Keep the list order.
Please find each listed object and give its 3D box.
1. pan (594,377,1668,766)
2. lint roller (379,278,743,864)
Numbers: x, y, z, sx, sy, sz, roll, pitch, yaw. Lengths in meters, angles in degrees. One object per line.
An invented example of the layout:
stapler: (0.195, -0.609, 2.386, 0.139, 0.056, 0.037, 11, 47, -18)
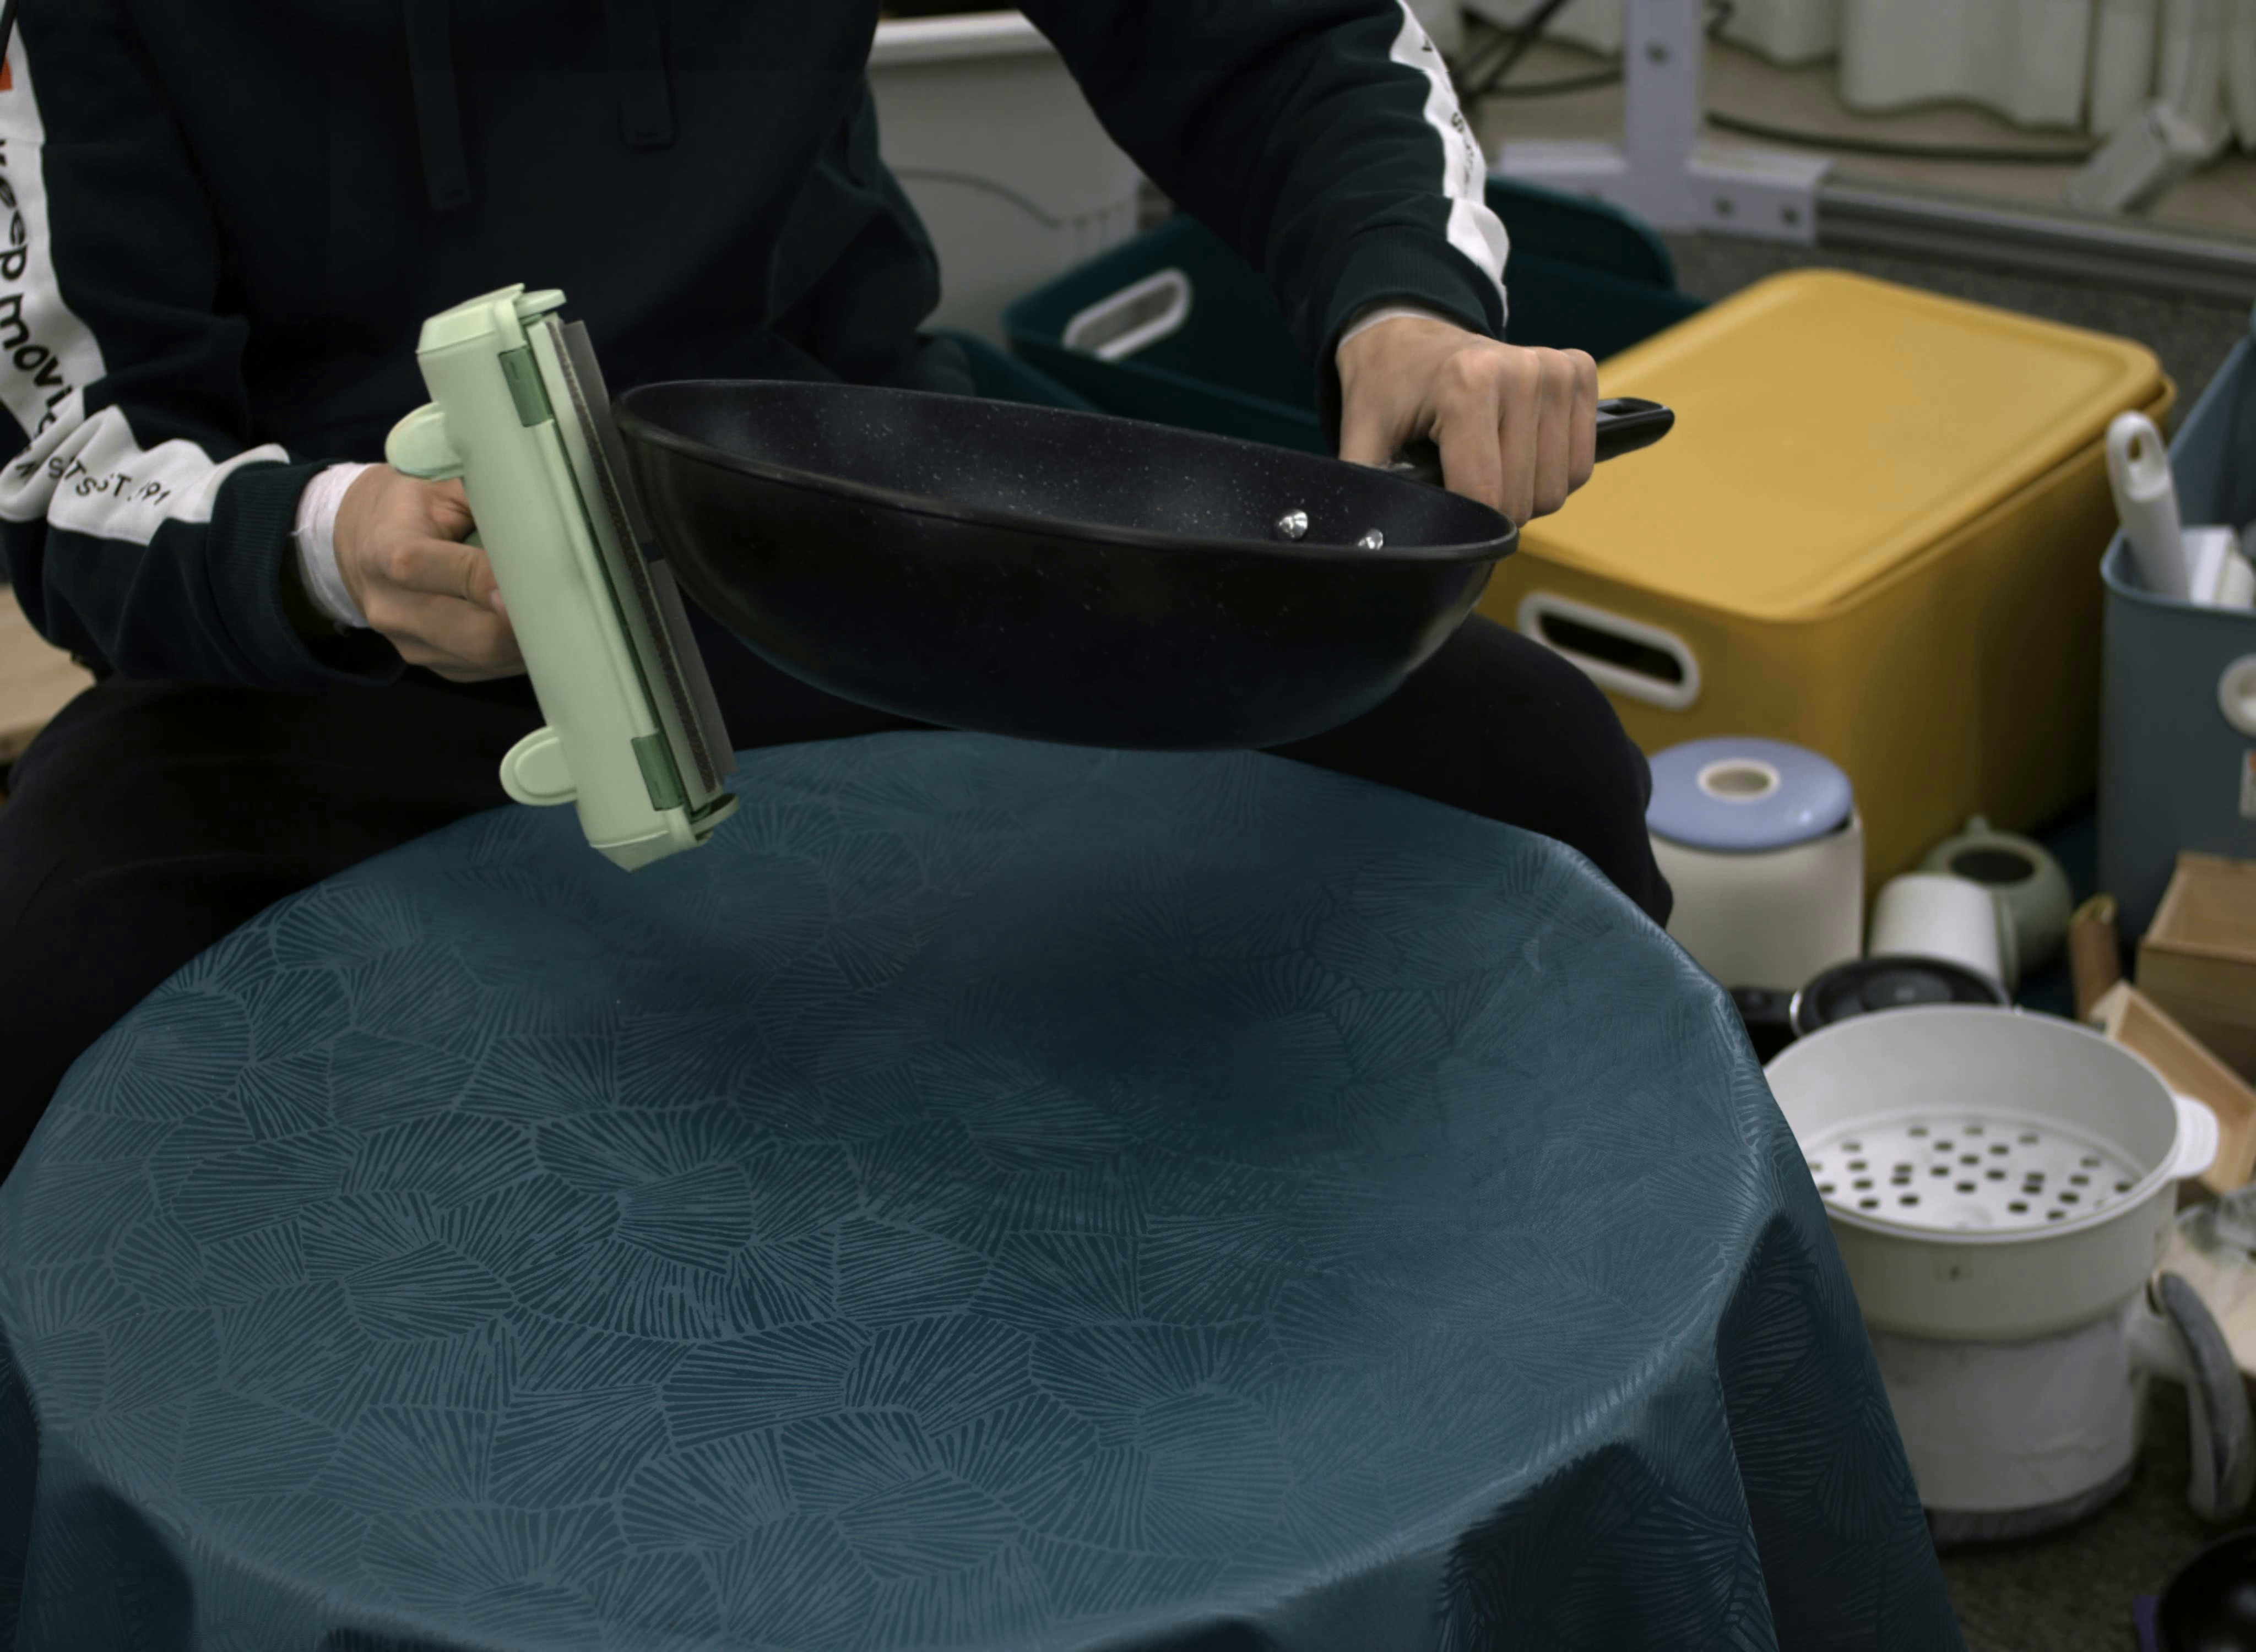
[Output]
pan: (0.027, -0.095, 1.955, 0.309, 0.111, 0.479, 18, 14, 40)
lint roller: (-0.218, -0.080, 1.933, 0.083, 0.198, 0.181, -23, 8, -29)
